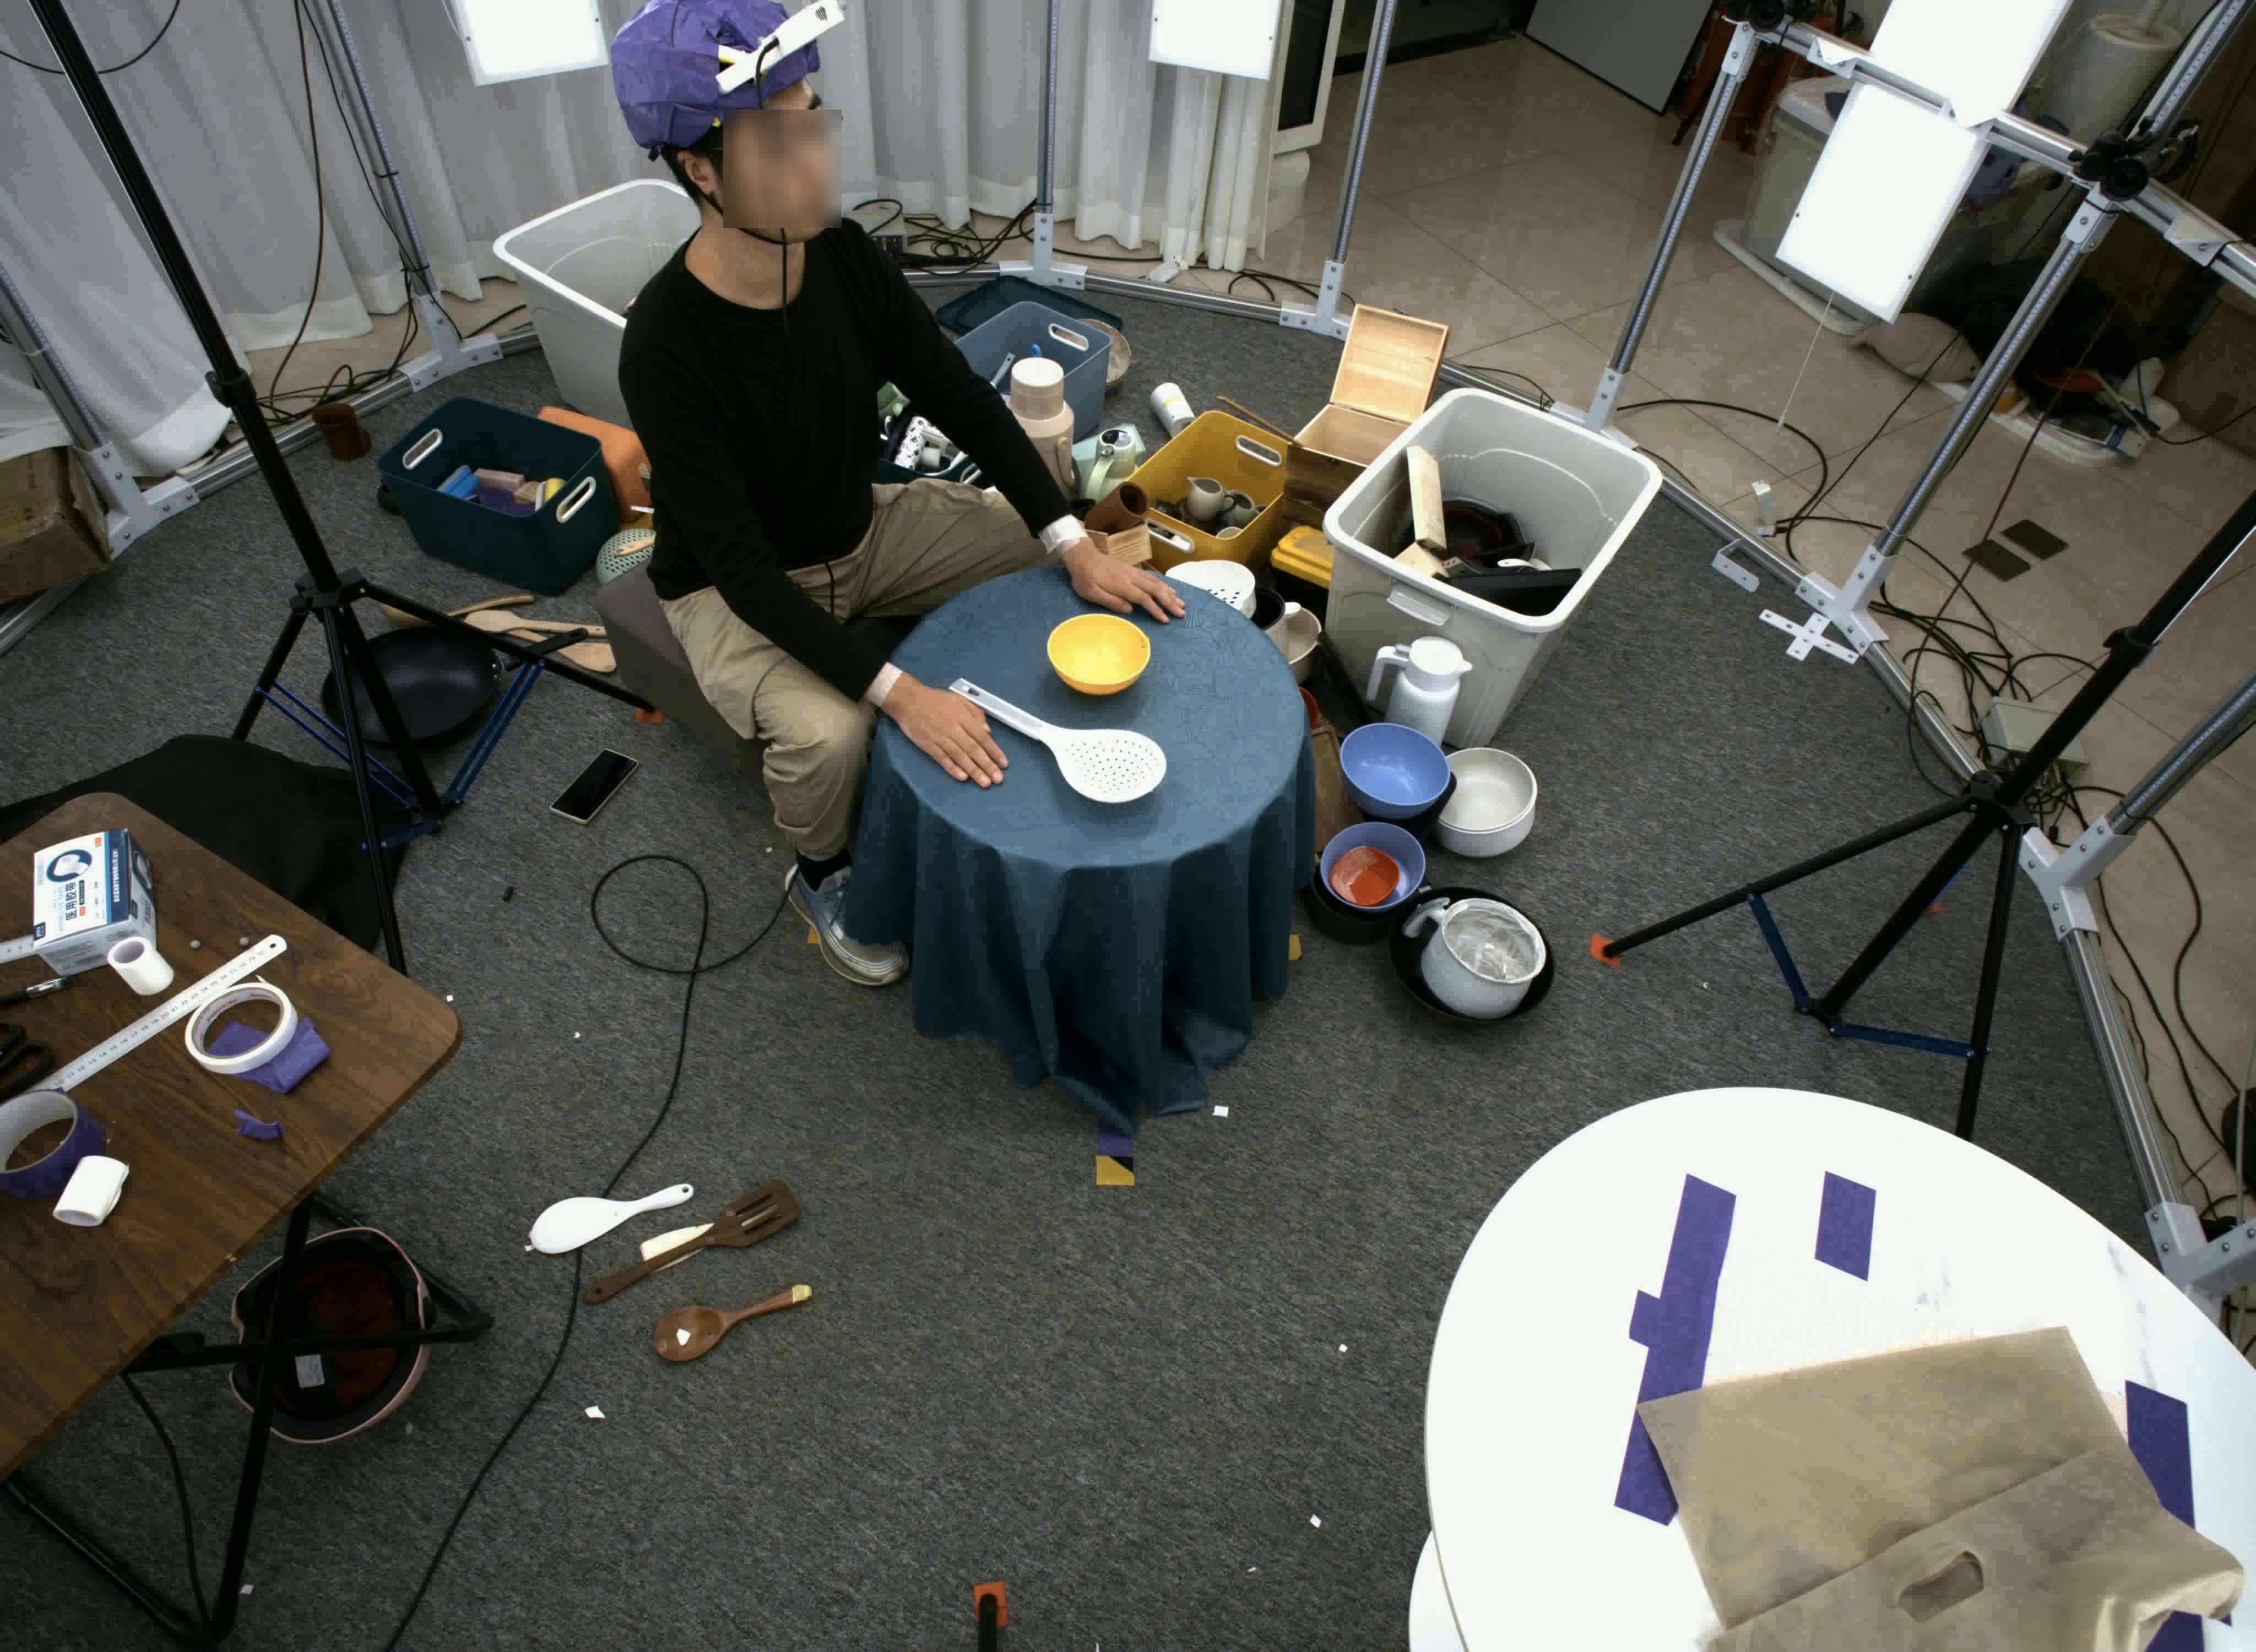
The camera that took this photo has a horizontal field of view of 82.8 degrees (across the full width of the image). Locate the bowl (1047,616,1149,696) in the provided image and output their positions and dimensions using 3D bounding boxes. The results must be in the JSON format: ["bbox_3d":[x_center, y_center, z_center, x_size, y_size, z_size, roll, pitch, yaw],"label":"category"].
[{"bbox_3d":[-0.045,-0.231,1.832,0.145,0.058,0.149,3,48,-4],"label":"bowl"}]

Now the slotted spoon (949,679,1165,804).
[{"bbox_3d":[-0.106,-0.122,1.739,0.354,0.044,0.138,31,53,22],"label":"slotted spoon"}]
